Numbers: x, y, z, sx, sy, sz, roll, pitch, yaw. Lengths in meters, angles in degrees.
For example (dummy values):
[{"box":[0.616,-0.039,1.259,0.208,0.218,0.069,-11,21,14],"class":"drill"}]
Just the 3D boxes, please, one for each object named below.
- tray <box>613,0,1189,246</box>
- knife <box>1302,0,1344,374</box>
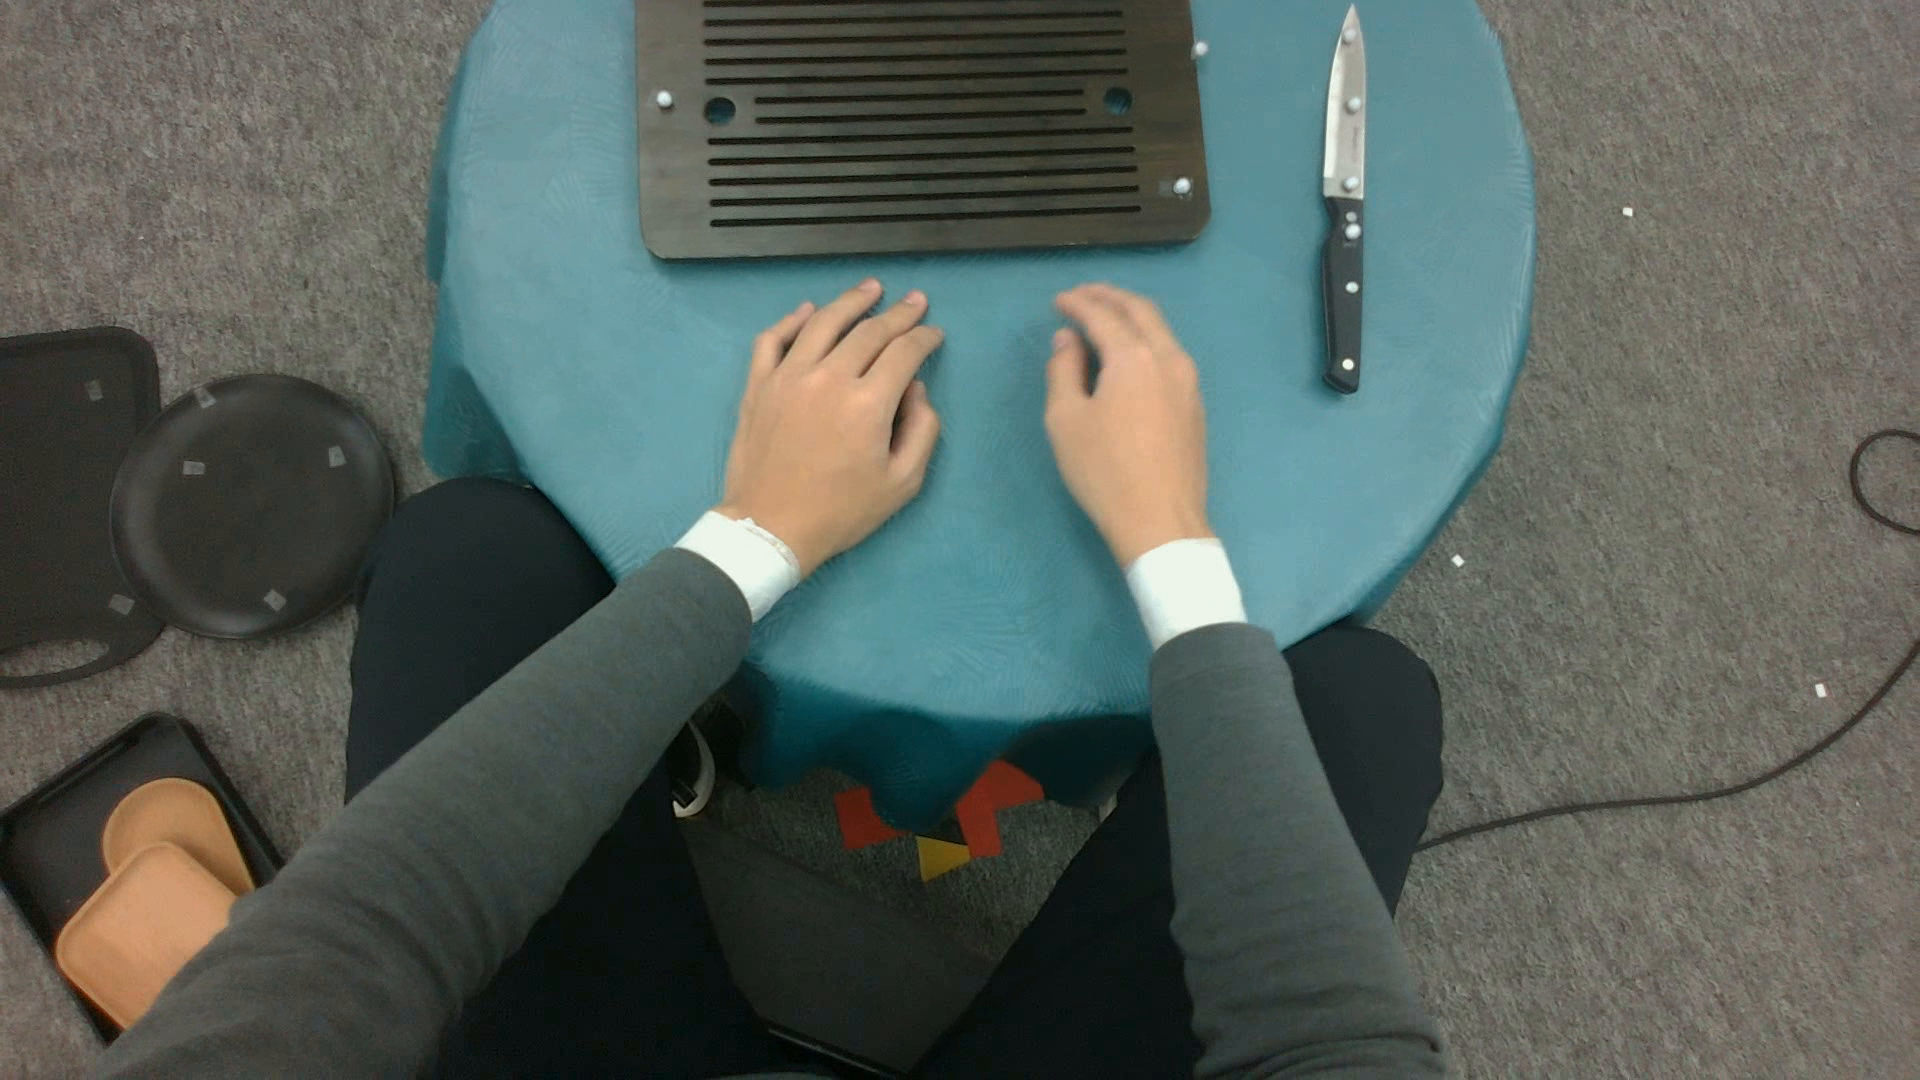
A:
[{"box":[-0.032,-0.245,0.754,0.306,0.018,0.170,-4,78,-5],"class":"tray"},{"box":[0.202,-0.204,0.768,0.024,0.016,0.239,5,75,-5],"class":"knife"}]
